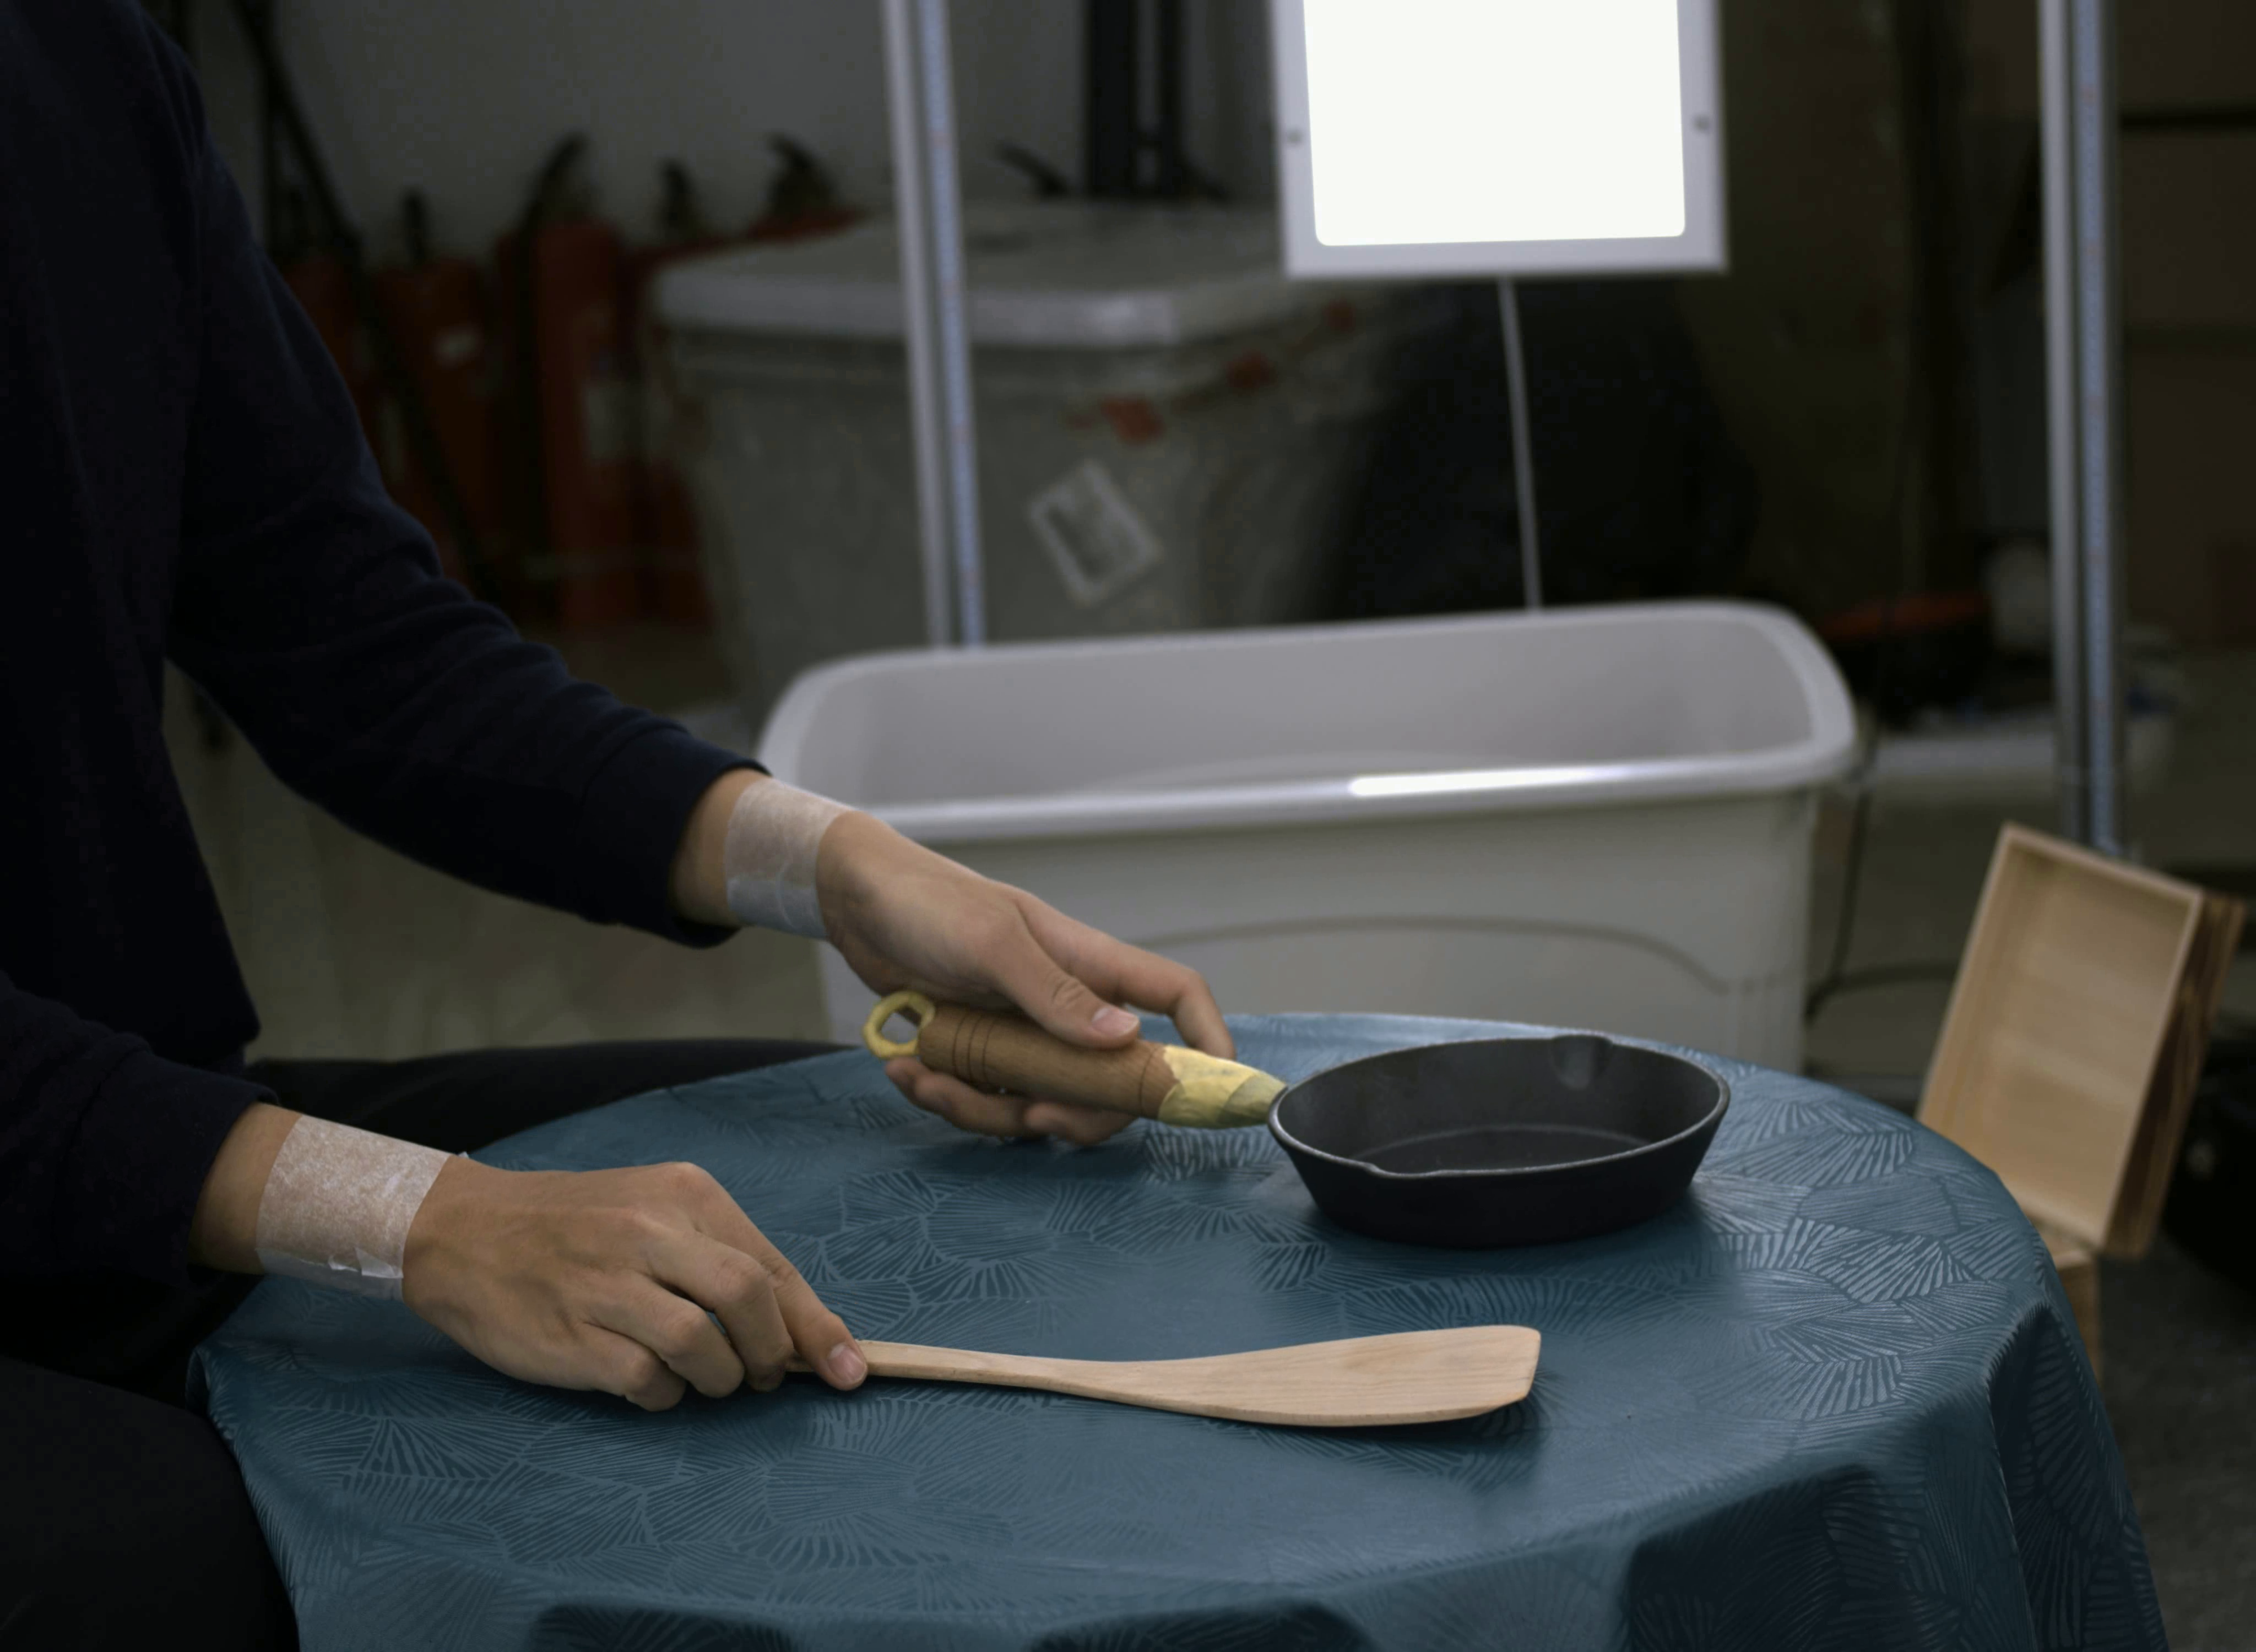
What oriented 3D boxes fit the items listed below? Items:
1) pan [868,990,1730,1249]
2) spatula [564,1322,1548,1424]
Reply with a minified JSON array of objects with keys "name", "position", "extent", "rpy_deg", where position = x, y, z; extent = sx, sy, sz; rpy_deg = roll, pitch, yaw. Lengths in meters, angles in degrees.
[{"name":"pan","position":[0.052,0.095,1.901],"extent":[0.330,0.050,0.165],"rpy_deg":[5,17,31]},{"name":"spatula","position":[-0.024,0.165,1.713],"extent":[0.332,0.016,0.078],"rpy_deg":[0,14,21]}]
